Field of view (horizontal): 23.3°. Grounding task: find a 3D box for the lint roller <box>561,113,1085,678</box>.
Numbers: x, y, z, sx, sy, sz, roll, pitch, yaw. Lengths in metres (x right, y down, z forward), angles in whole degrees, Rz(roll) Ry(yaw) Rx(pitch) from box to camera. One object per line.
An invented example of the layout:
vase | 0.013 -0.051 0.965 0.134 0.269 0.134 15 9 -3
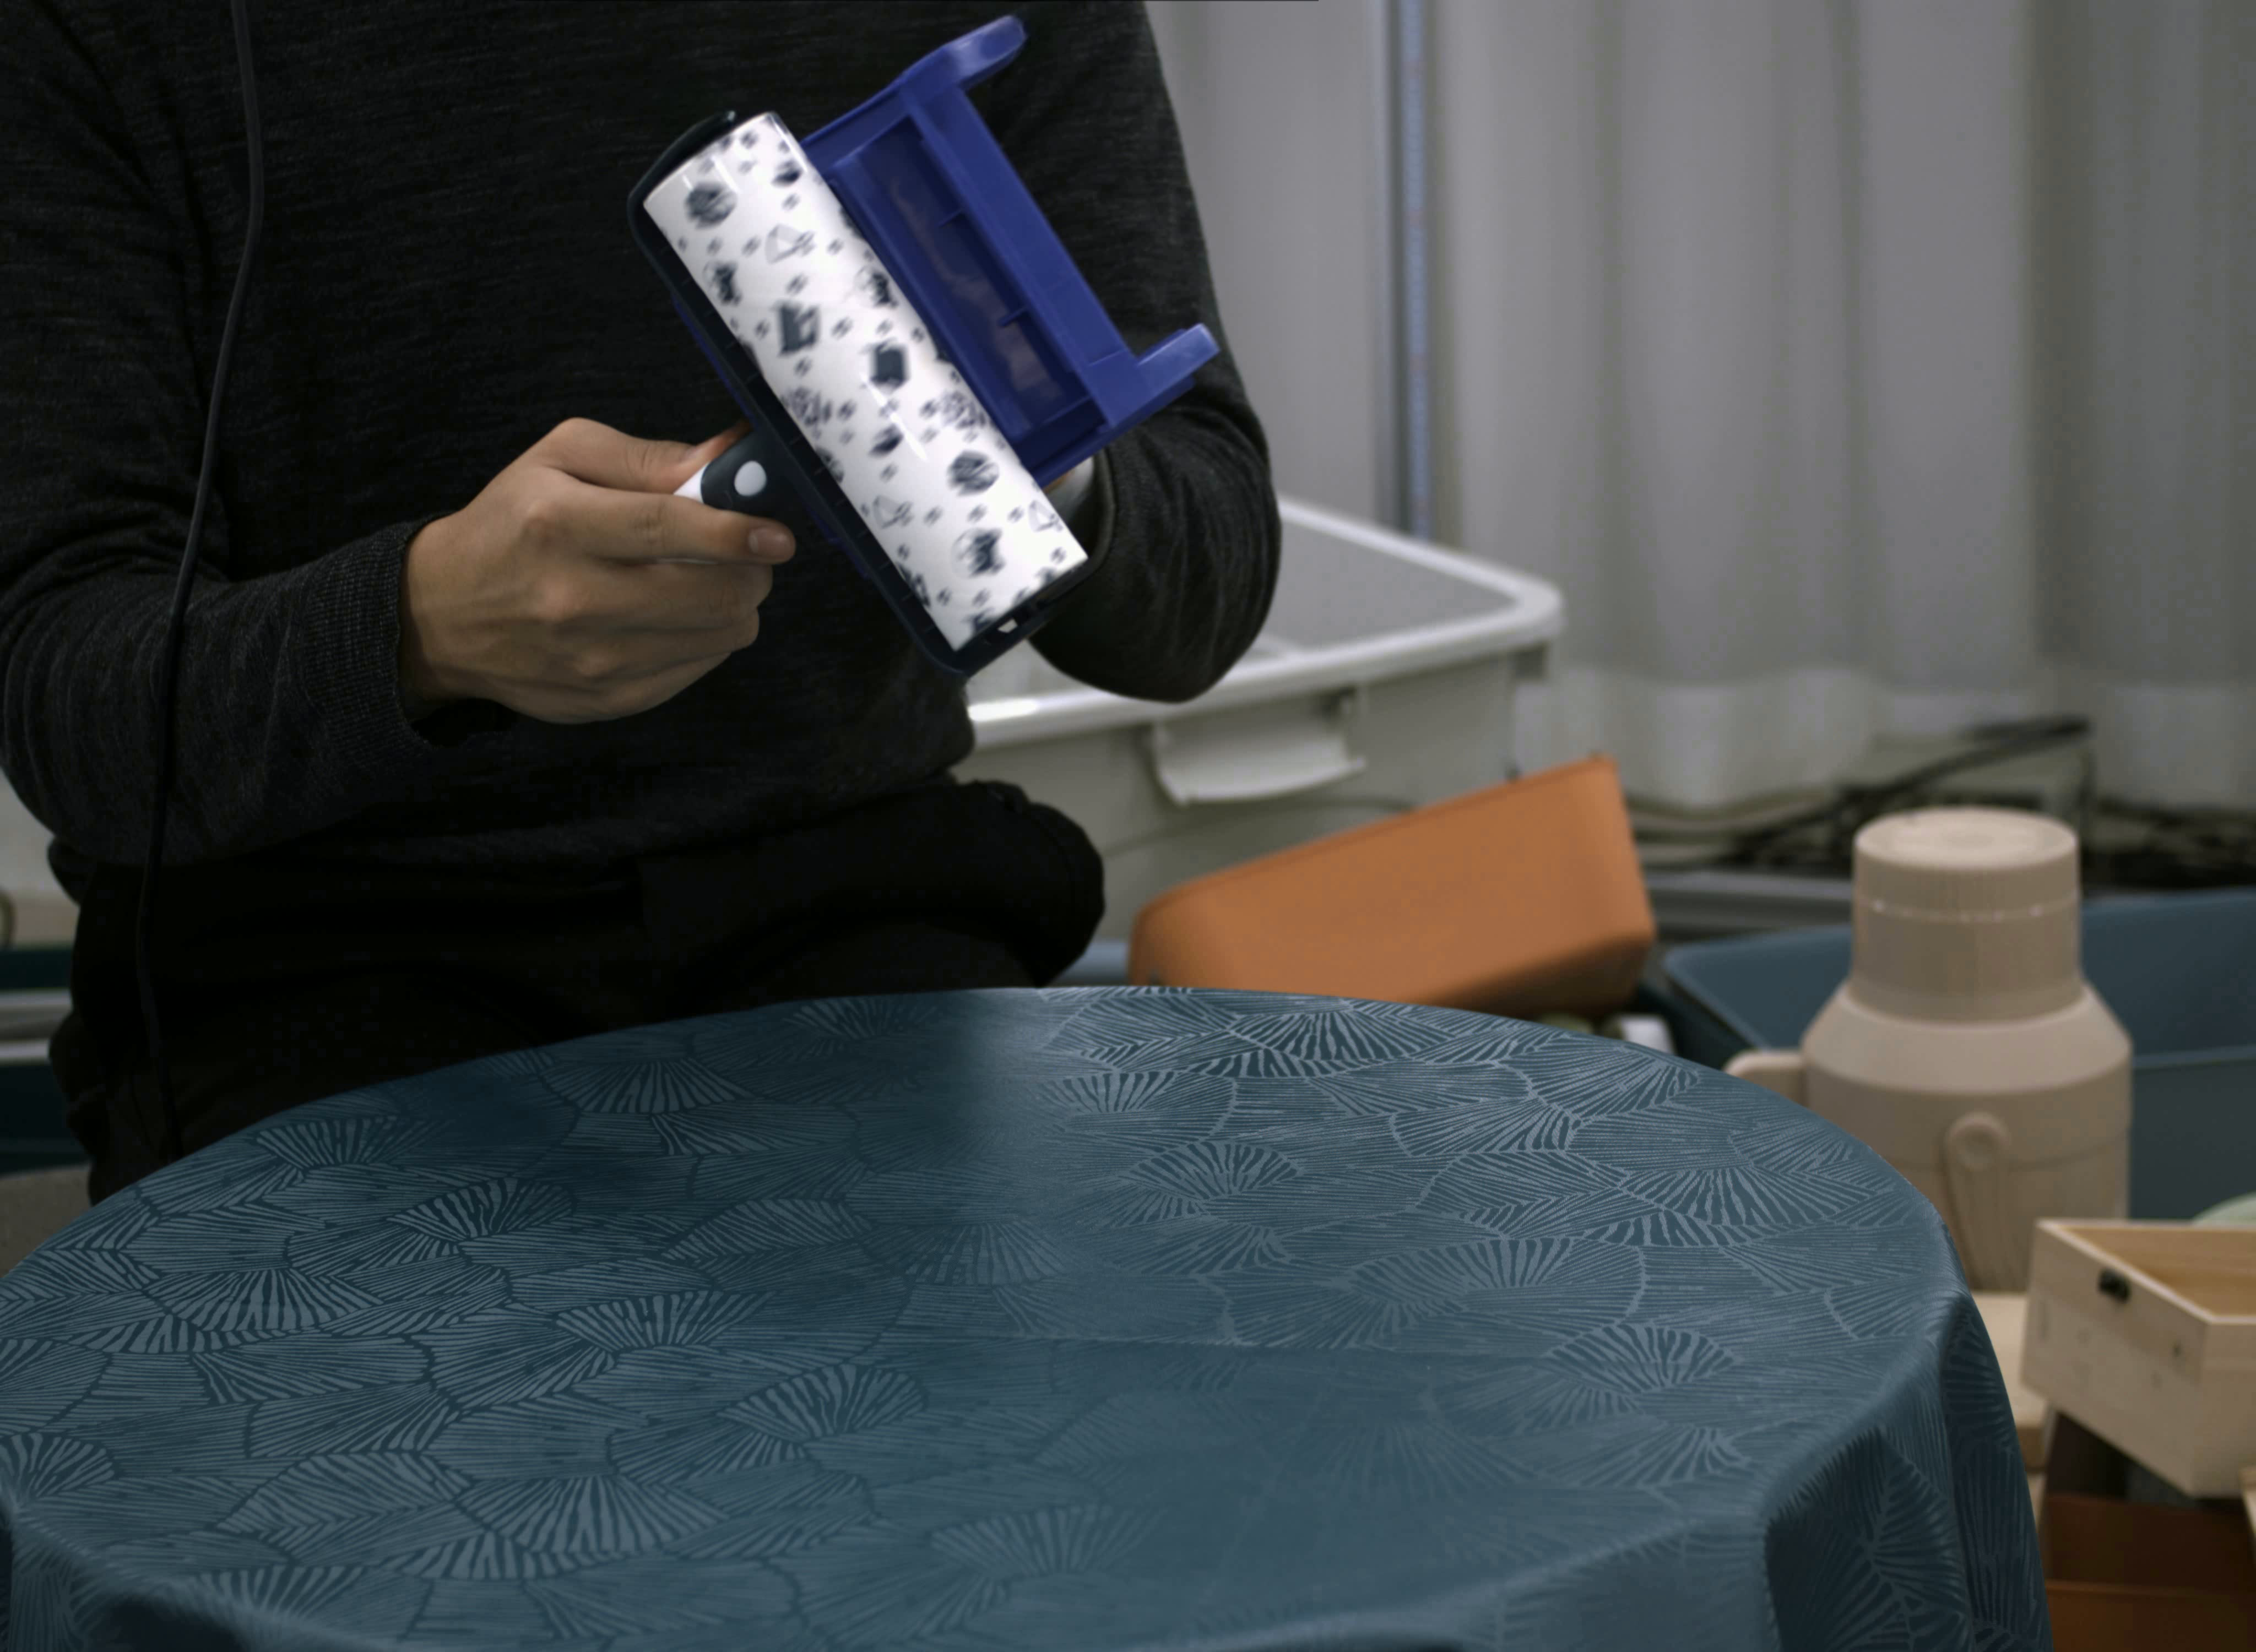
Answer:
lint roller | -0.123 -0.094 1.681 0.050 0.176 0.246 -35 -1 -36

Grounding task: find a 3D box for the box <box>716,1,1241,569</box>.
box | -0.049 -0.162 1.662 0.082 0.124 0.179 -34 3 -29
